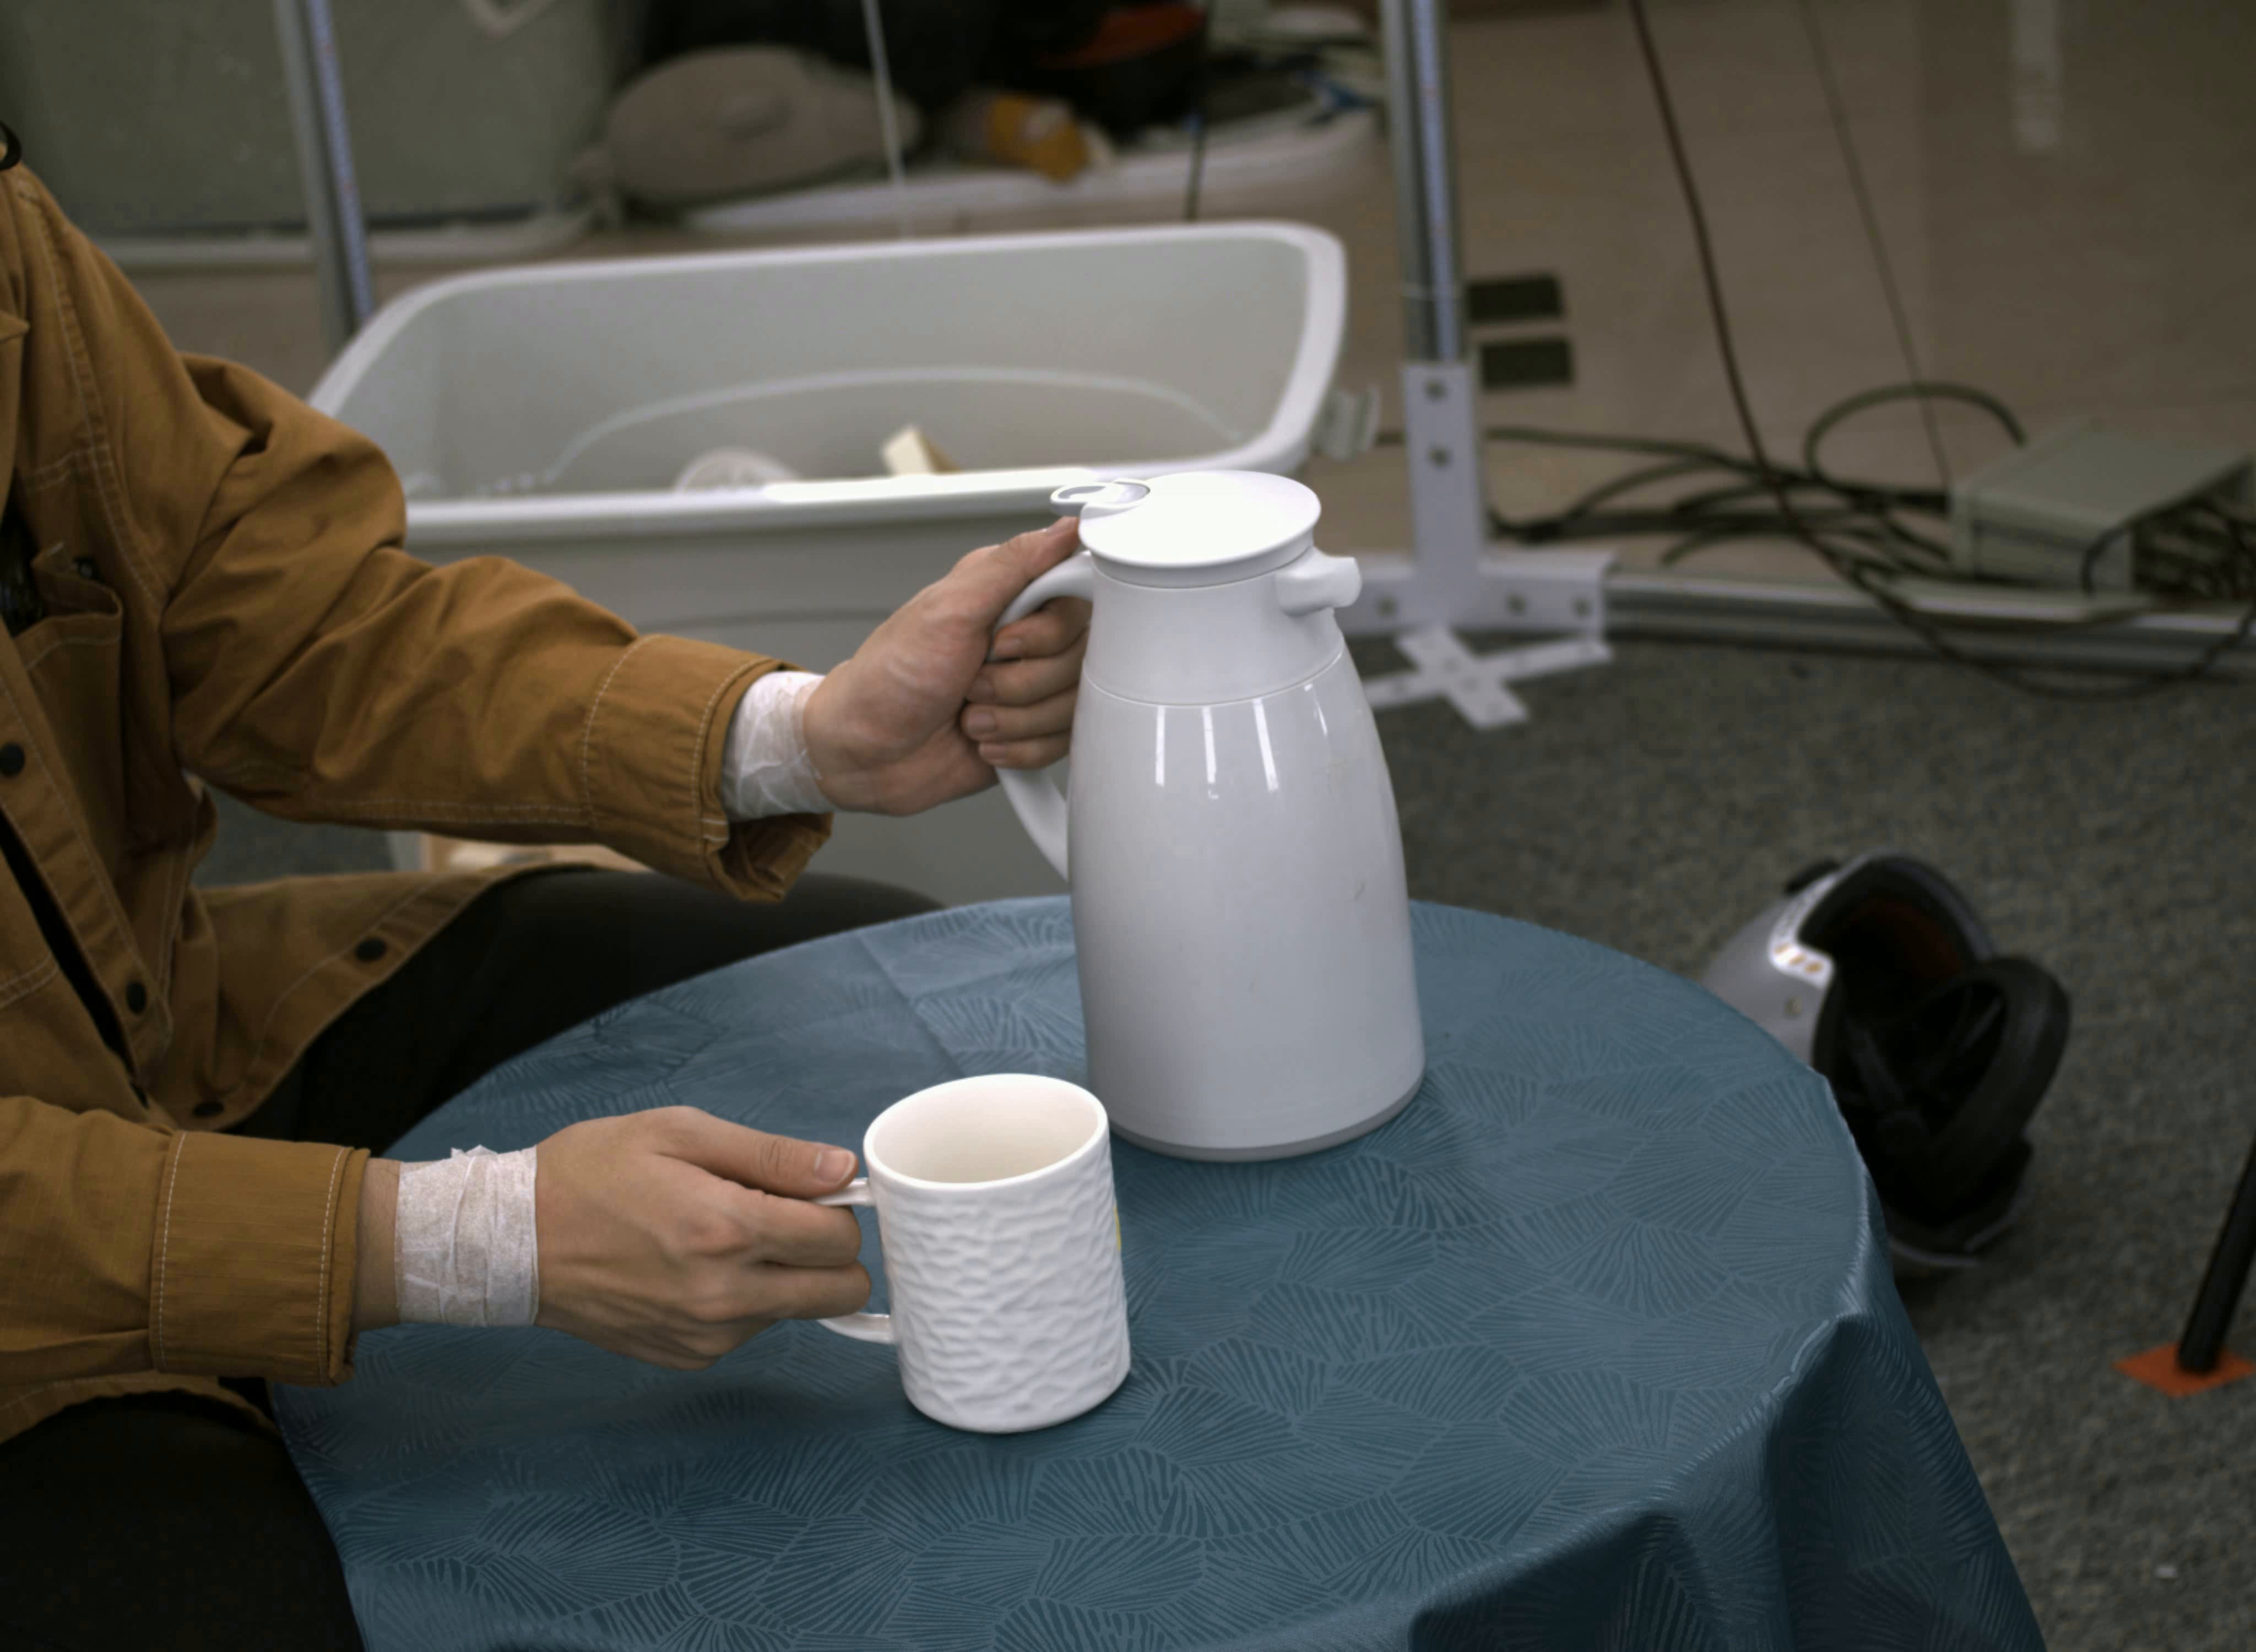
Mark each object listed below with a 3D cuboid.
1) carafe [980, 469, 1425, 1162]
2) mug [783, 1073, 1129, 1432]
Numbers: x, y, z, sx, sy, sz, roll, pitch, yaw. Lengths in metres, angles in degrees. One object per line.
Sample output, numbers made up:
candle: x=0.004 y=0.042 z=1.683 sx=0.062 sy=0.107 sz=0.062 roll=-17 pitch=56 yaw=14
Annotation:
carafe: x=0.021 y=-0.013 z=2.171 sx=0.167 sy=0.253 sz=0.131 roll=8 pitch=30 yaw=29
mug: x=-0.061 y=0.153 z=2.010 sx=0.118 sy=0.103 sz=0.083 roll=-6 pitch=26 yaw=0
